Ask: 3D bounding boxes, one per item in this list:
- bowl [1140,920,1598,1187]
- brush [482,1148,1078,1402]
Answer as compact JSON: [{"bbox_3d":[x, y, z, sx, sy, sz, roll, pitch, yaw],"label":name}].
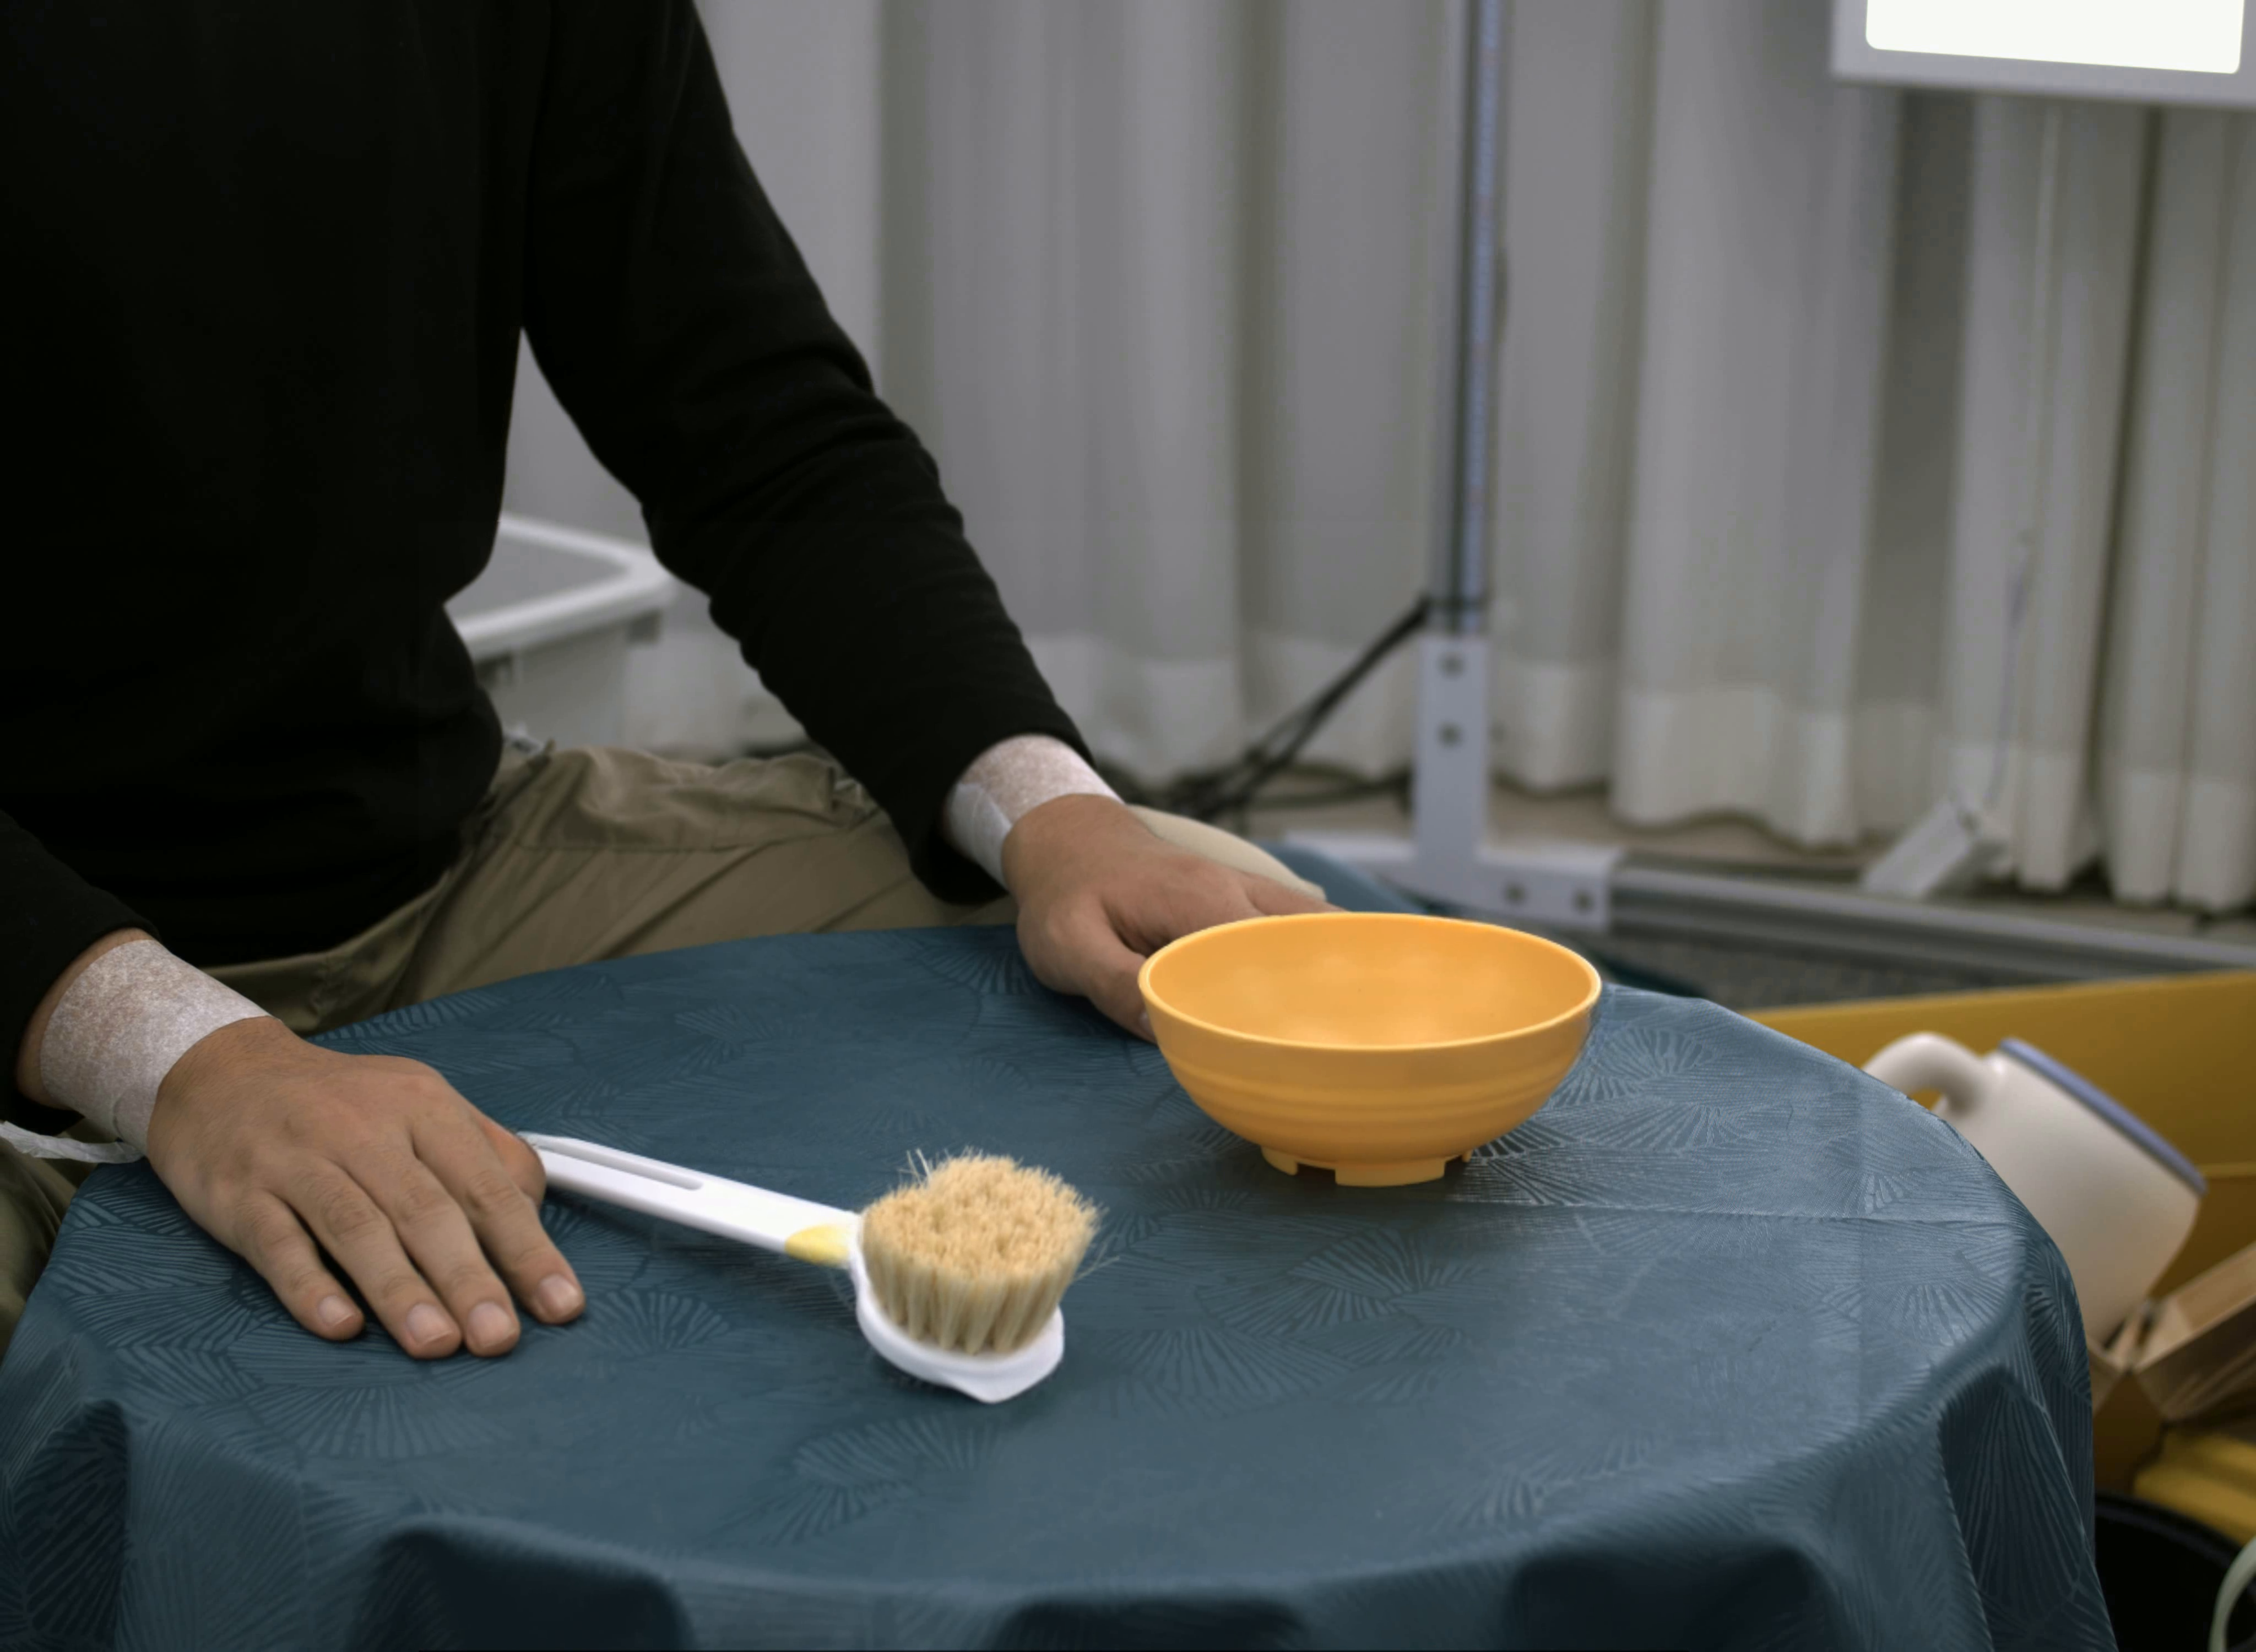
[{"bbox_3d":[0.074,0.075,1.648,0.145,0.060,0.144,1,14,0],"label":"bowl"},{"bbox_3d":[-0.112,0.106,1.538,0.069,0.056,0.263,-6,15,-39],"label":"brush"}]
